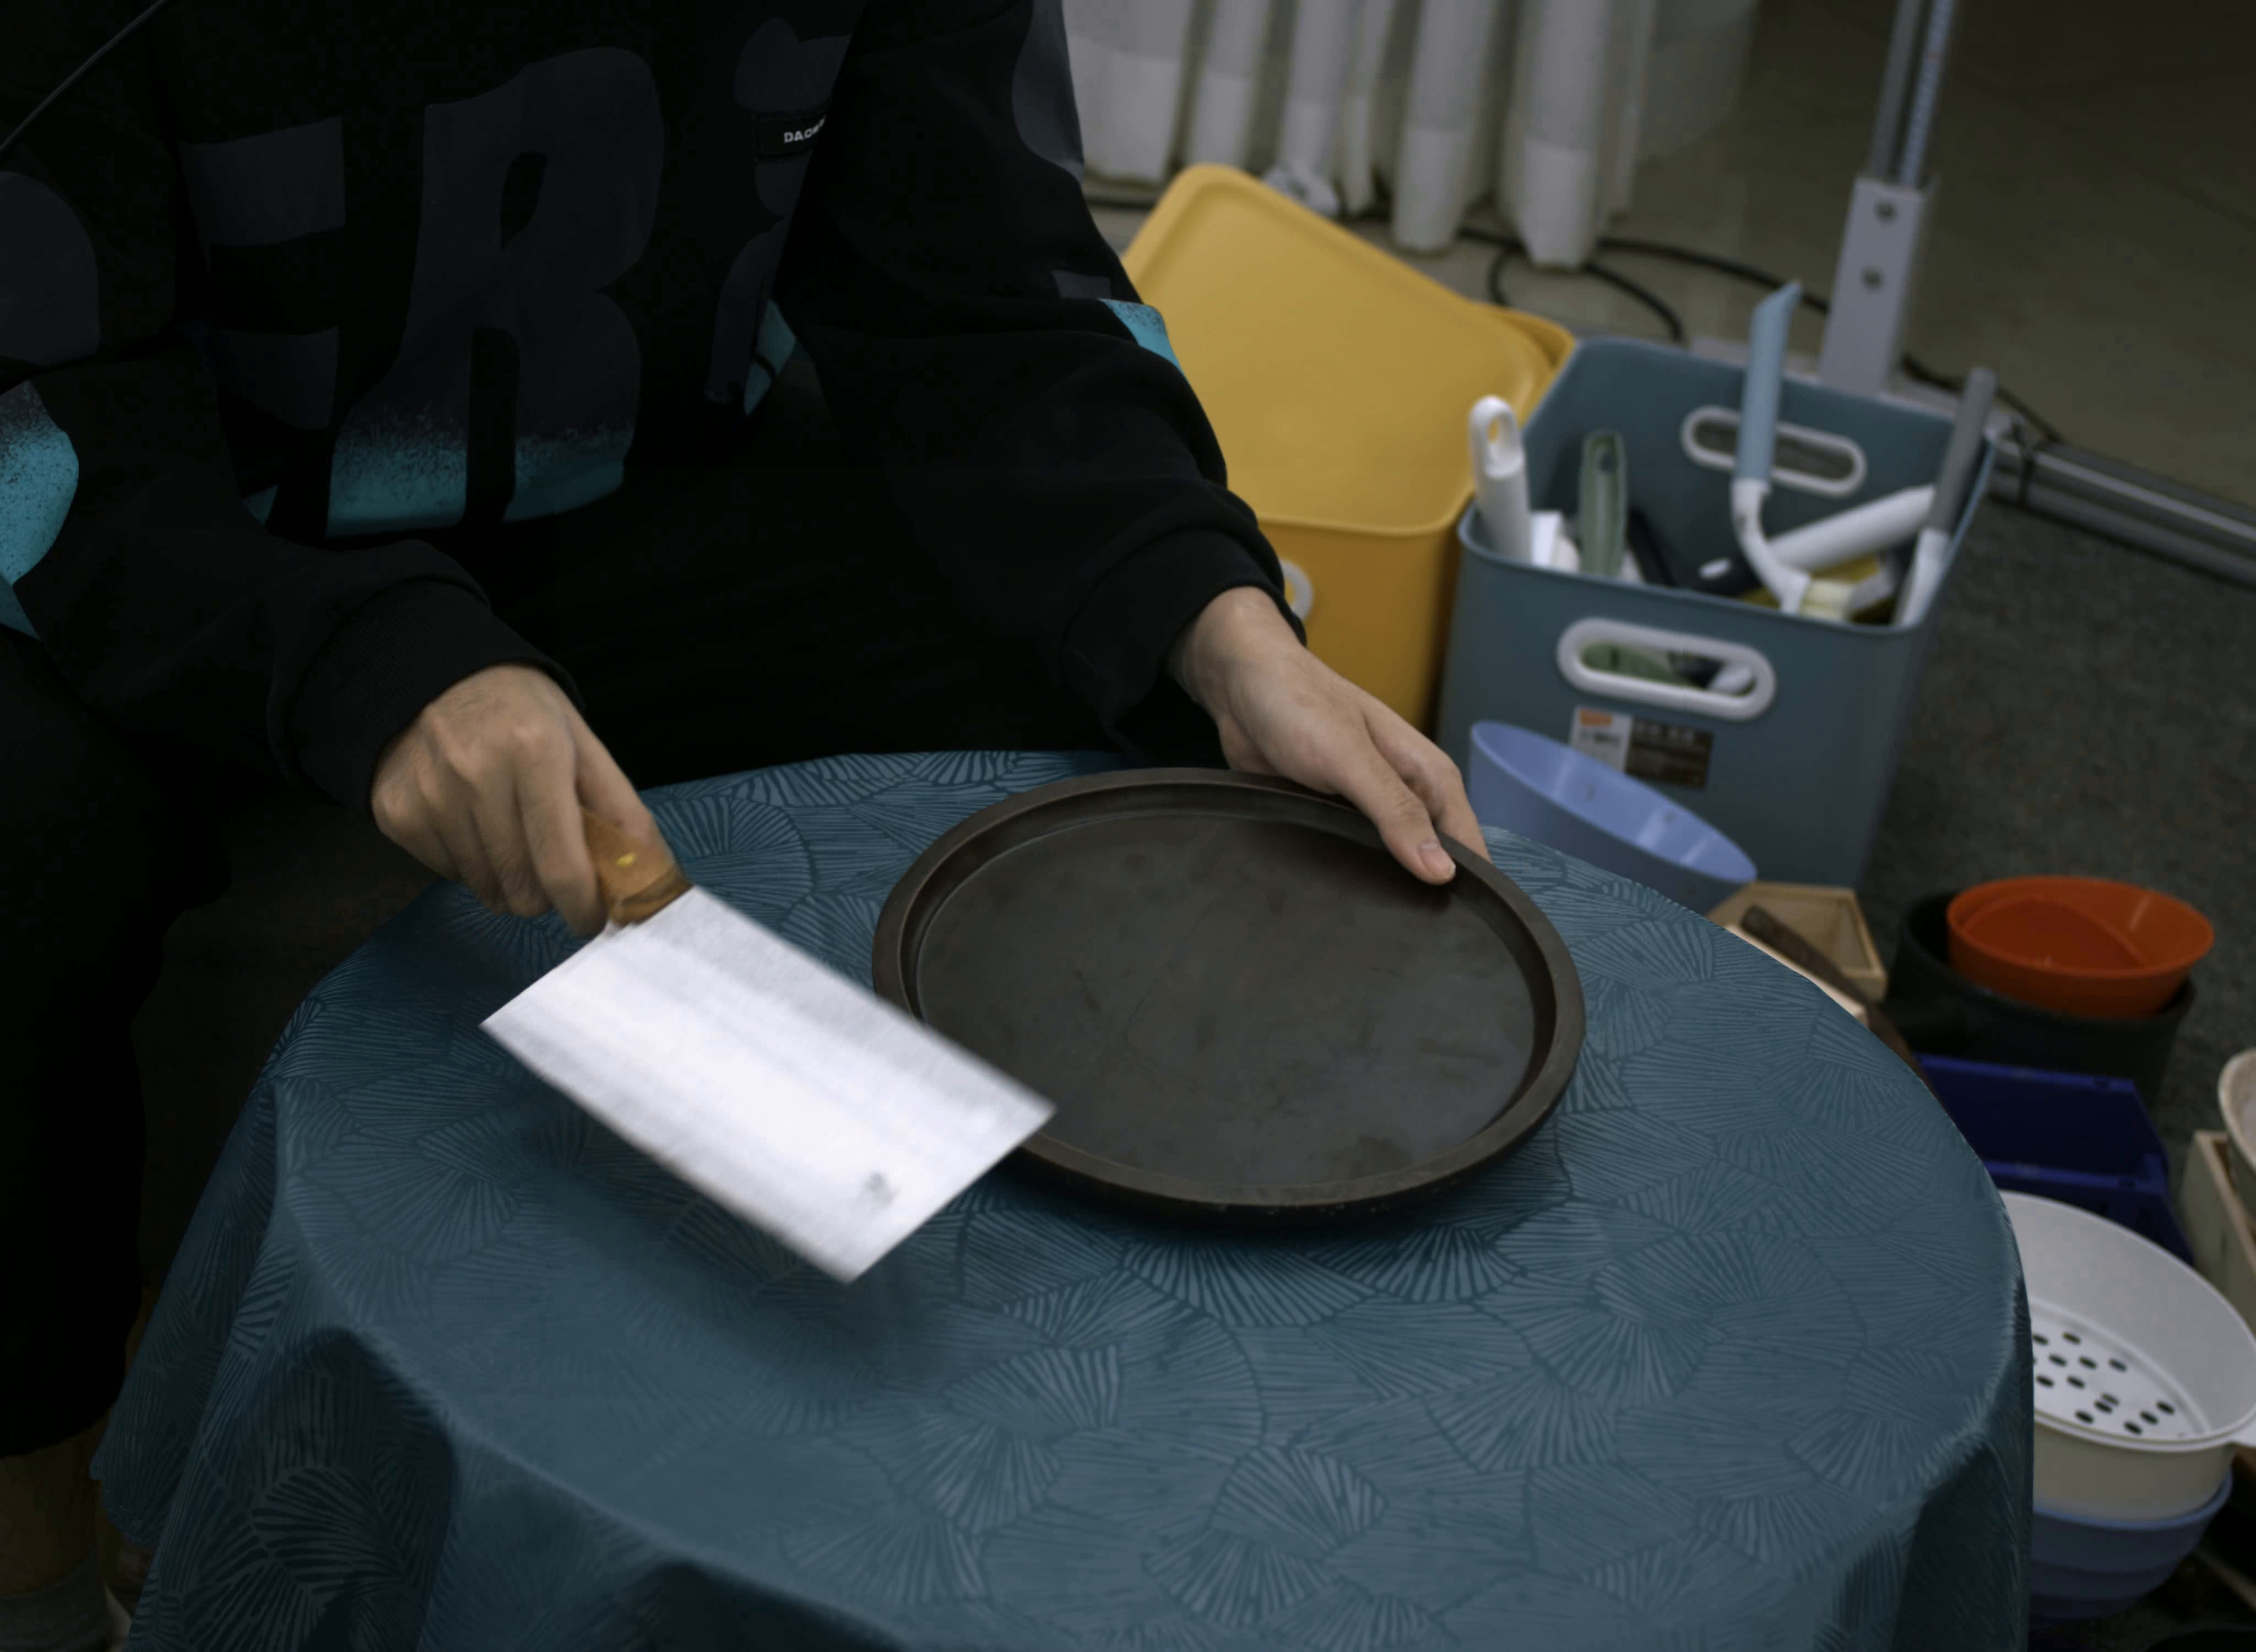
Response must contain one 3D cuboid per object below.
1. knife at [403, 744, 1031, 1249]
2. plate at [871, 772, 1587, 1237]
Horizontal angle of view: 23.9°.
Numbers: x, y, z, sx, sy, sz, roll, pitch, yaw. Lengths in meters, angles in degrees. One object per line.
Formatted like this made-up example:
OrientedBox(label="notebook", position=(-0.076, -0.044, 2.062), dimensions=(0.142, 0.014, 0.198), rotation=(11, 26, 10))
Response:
OrientedBox(label="knife", position=(-0.161, 0.058, 1.781), dimensions=(0.093, 0.021, 0.308), rotation=(-38, 47, -24))
OrientedBox(label="plate", position=(0.035, 0.060, 1.872), dimensions=(0.254, 0.029, 0.257), rotation=(3, 37, -3))
